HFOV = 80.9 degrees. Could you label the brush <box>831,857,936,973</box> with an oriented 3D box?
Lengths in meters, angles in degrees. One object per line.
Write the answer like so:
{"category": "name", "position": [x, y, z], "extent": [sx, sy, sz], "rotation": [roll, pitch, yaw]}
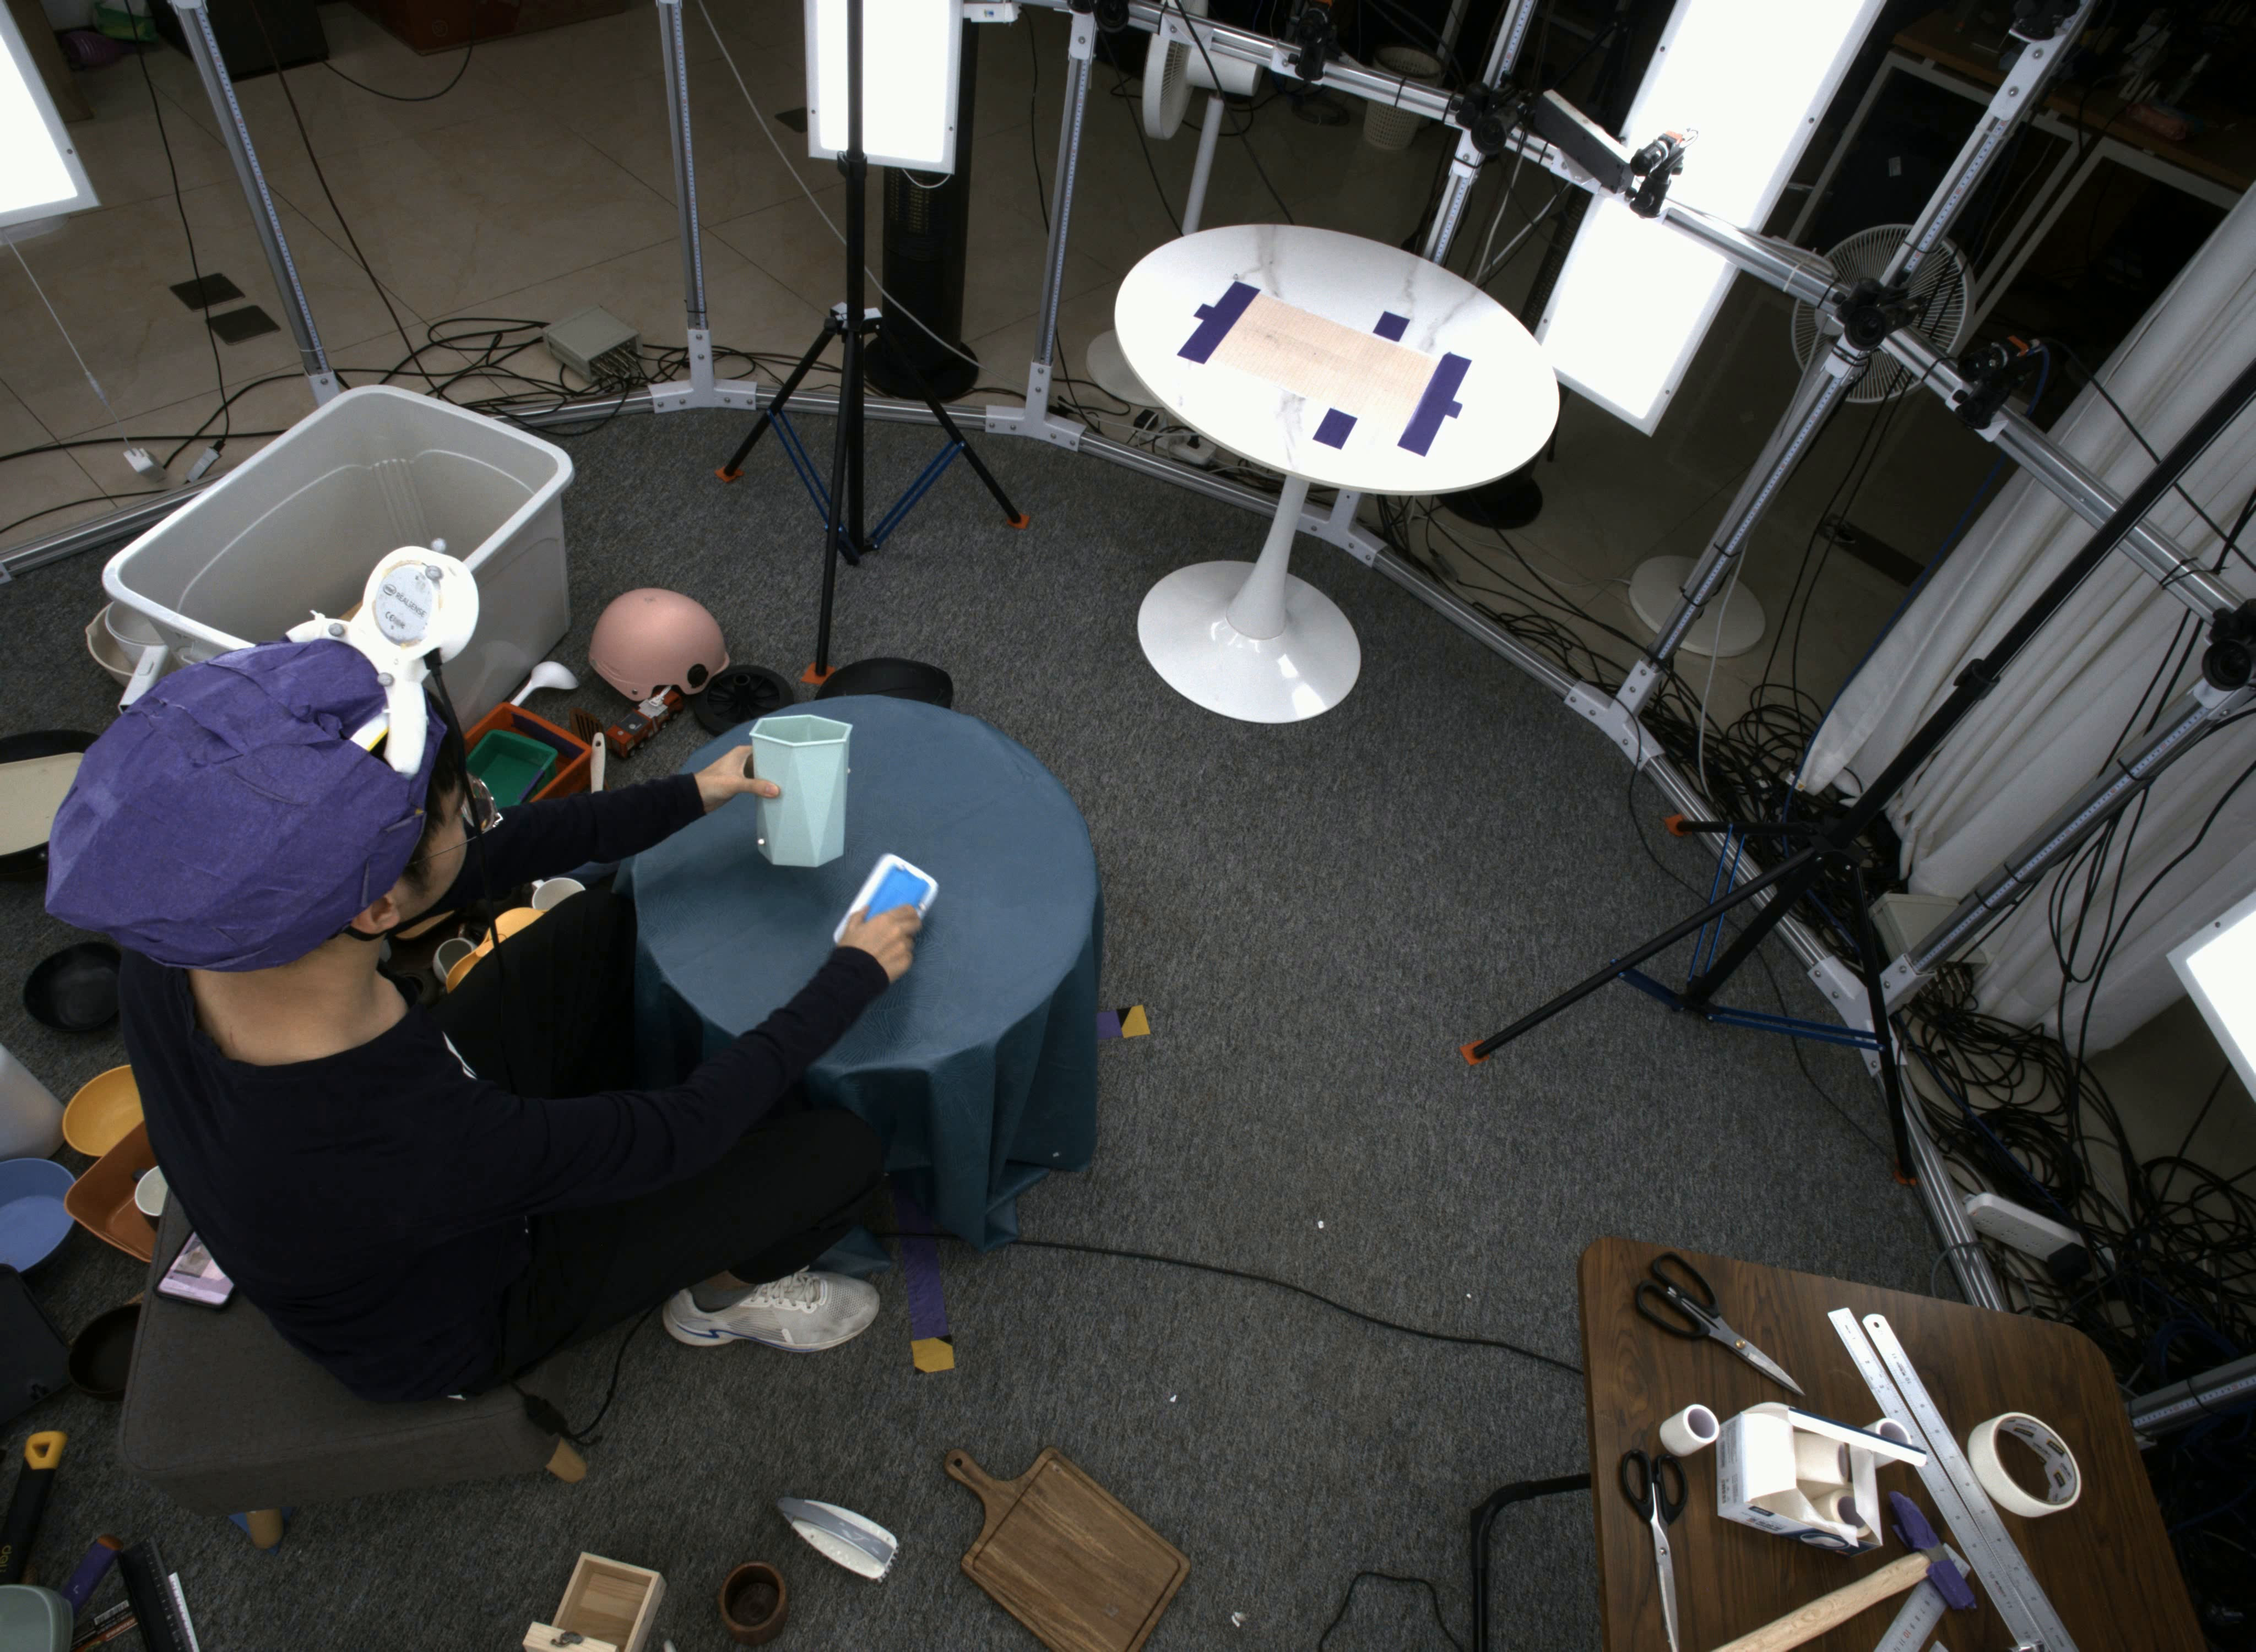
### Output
{"category": "brush", "position": [-0.300, 0.102, 1.600], "extent": [0.084, 0.056, 0.143], "rotation": [31, 63, -5]}

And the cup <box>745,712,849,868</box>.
{"category": "cup", "position": [-0.404, -0.044, 1.586], "extent": [0.127, 0.167, 0.115], "rotation": [14, 22, 20]}
